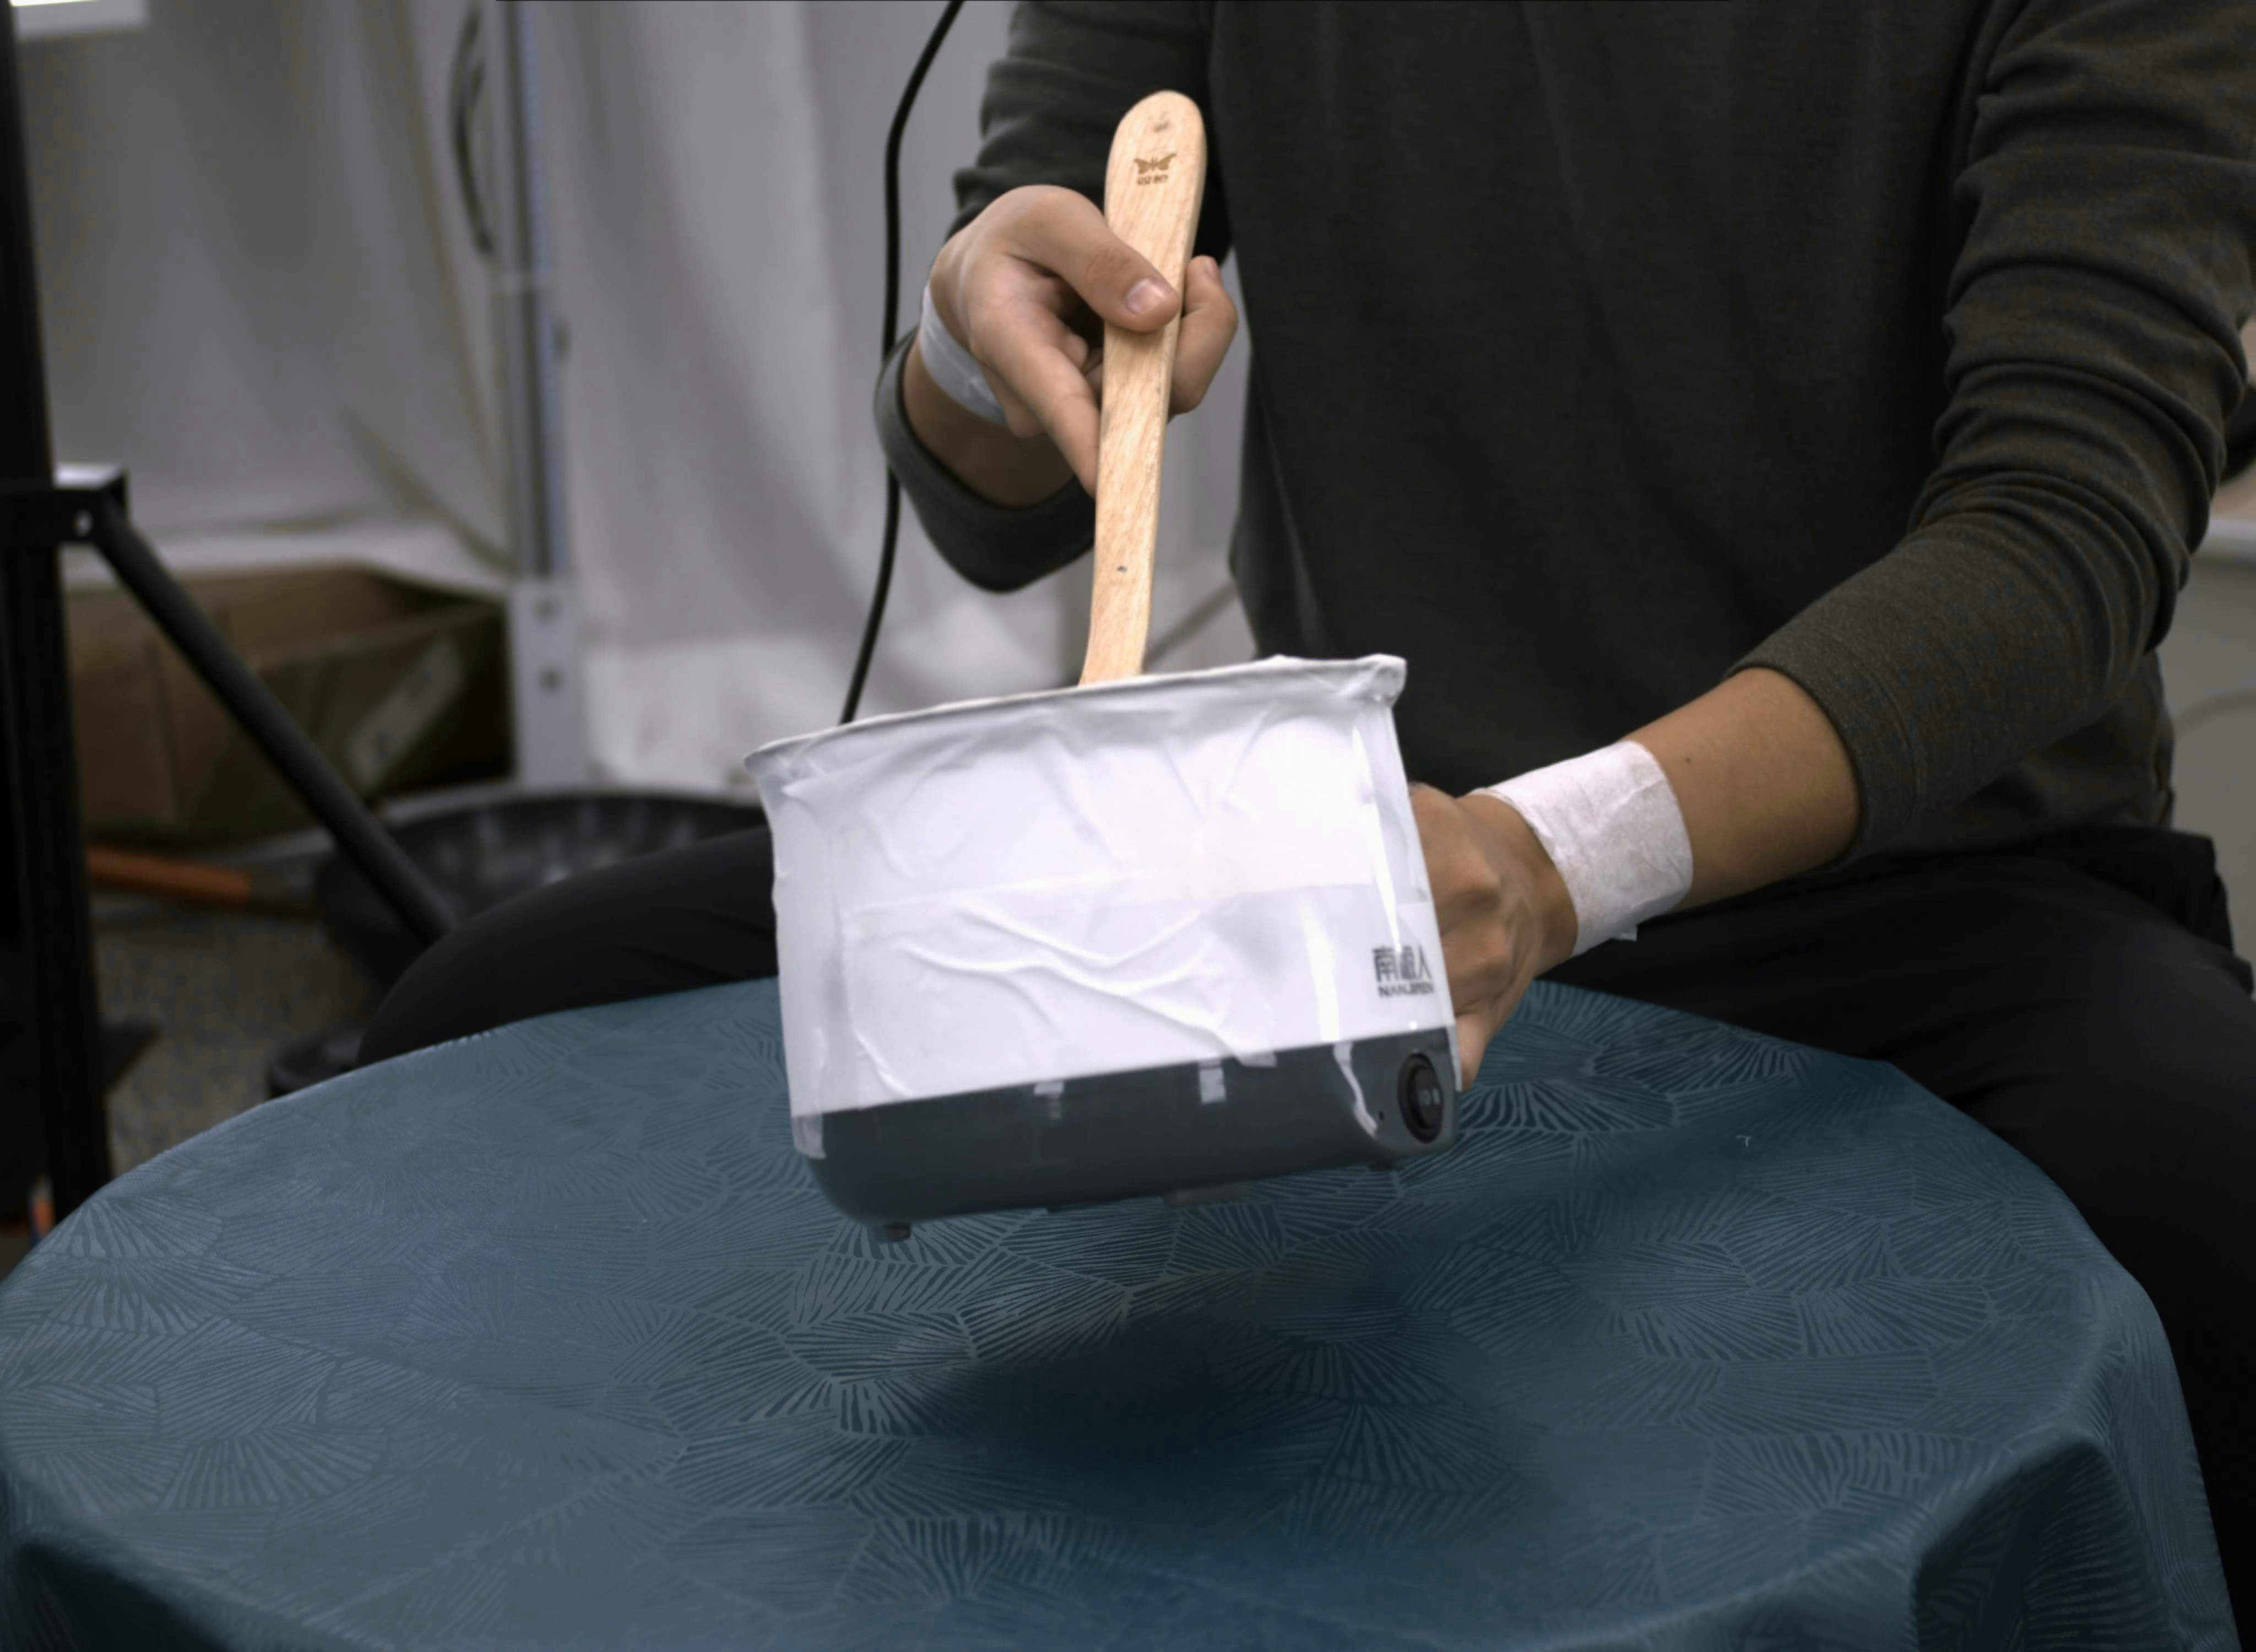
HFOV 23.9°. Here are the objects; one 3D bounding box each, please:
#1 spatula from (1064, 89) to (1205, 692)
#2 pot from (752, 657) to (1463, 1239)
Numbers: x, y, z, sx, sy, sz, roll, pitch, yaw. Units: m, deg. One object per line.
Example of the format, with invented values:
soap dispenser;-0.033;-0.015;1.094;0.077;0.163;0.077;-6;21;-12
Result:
spatula;-0.004;-0.095;1.540;0.096;0.018;0.394;-6;44;10
pot;0.009;0.031;1.418;0.181;0.137;0.228;-8;-3;30
